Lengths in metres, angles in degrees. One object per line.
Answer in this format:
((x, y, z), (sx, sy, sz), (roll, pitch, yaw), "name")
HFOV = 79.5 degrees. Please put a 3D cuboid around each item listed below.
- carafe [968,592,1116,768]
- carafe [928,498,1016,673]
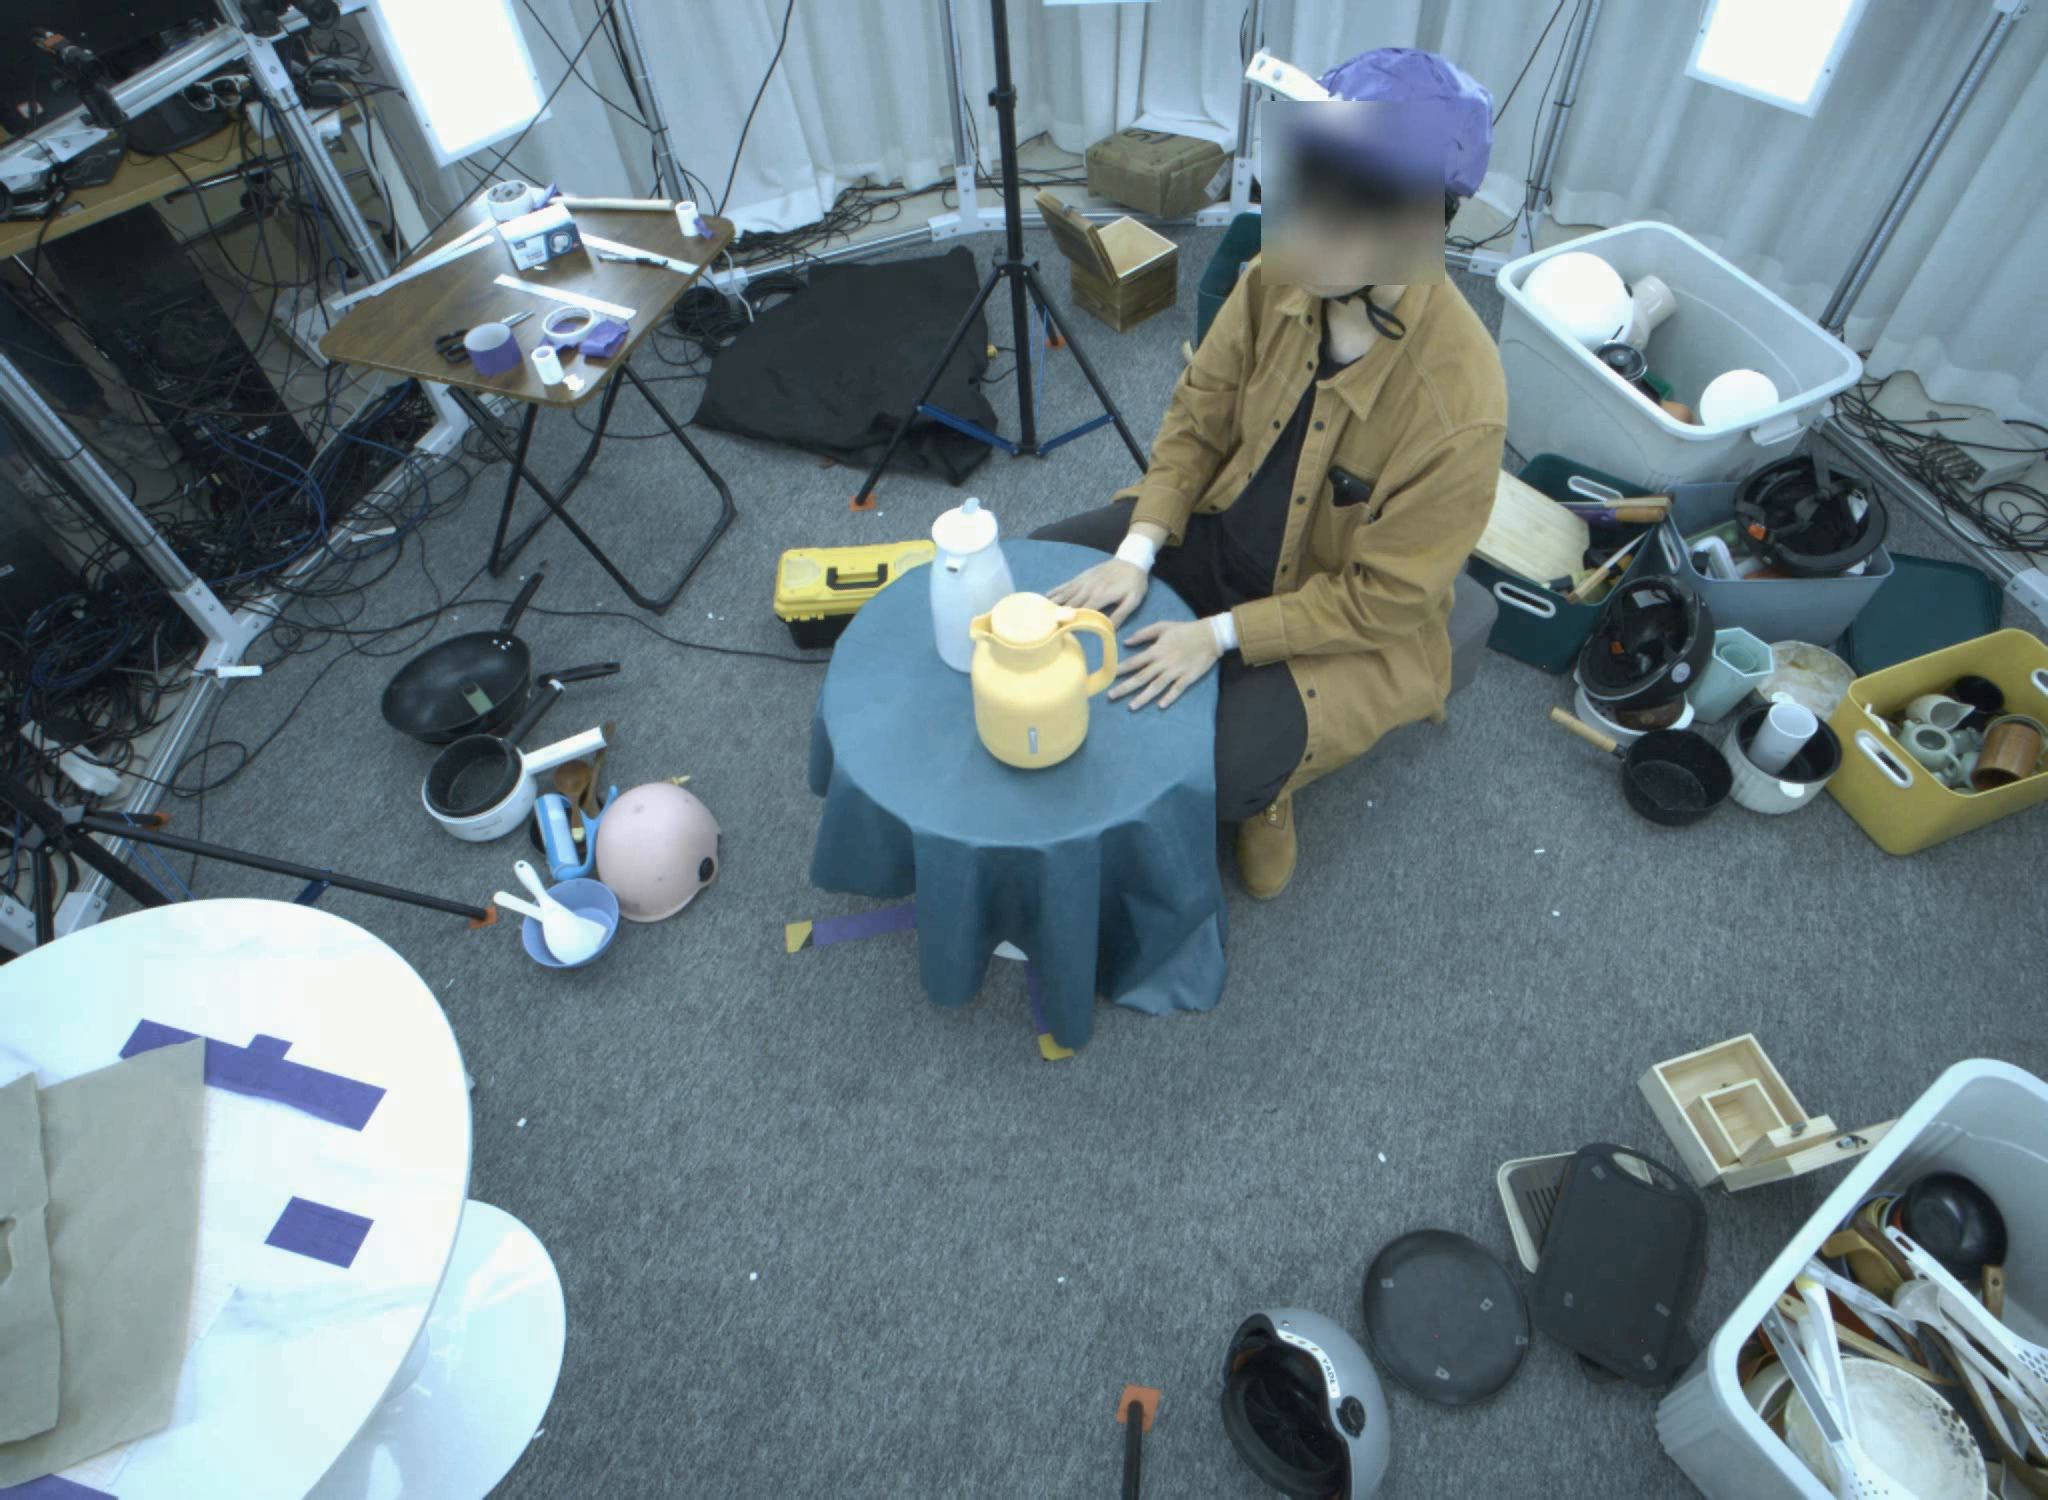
((0.026, -0.101, 1.695), (0.202, 0.263, 0.161), (-4, 56, 2), "carafe")
((-0.075, -0.256, 1.815), (0.131, 0.251, 0.167), (11, 55, 11), "carafe")
